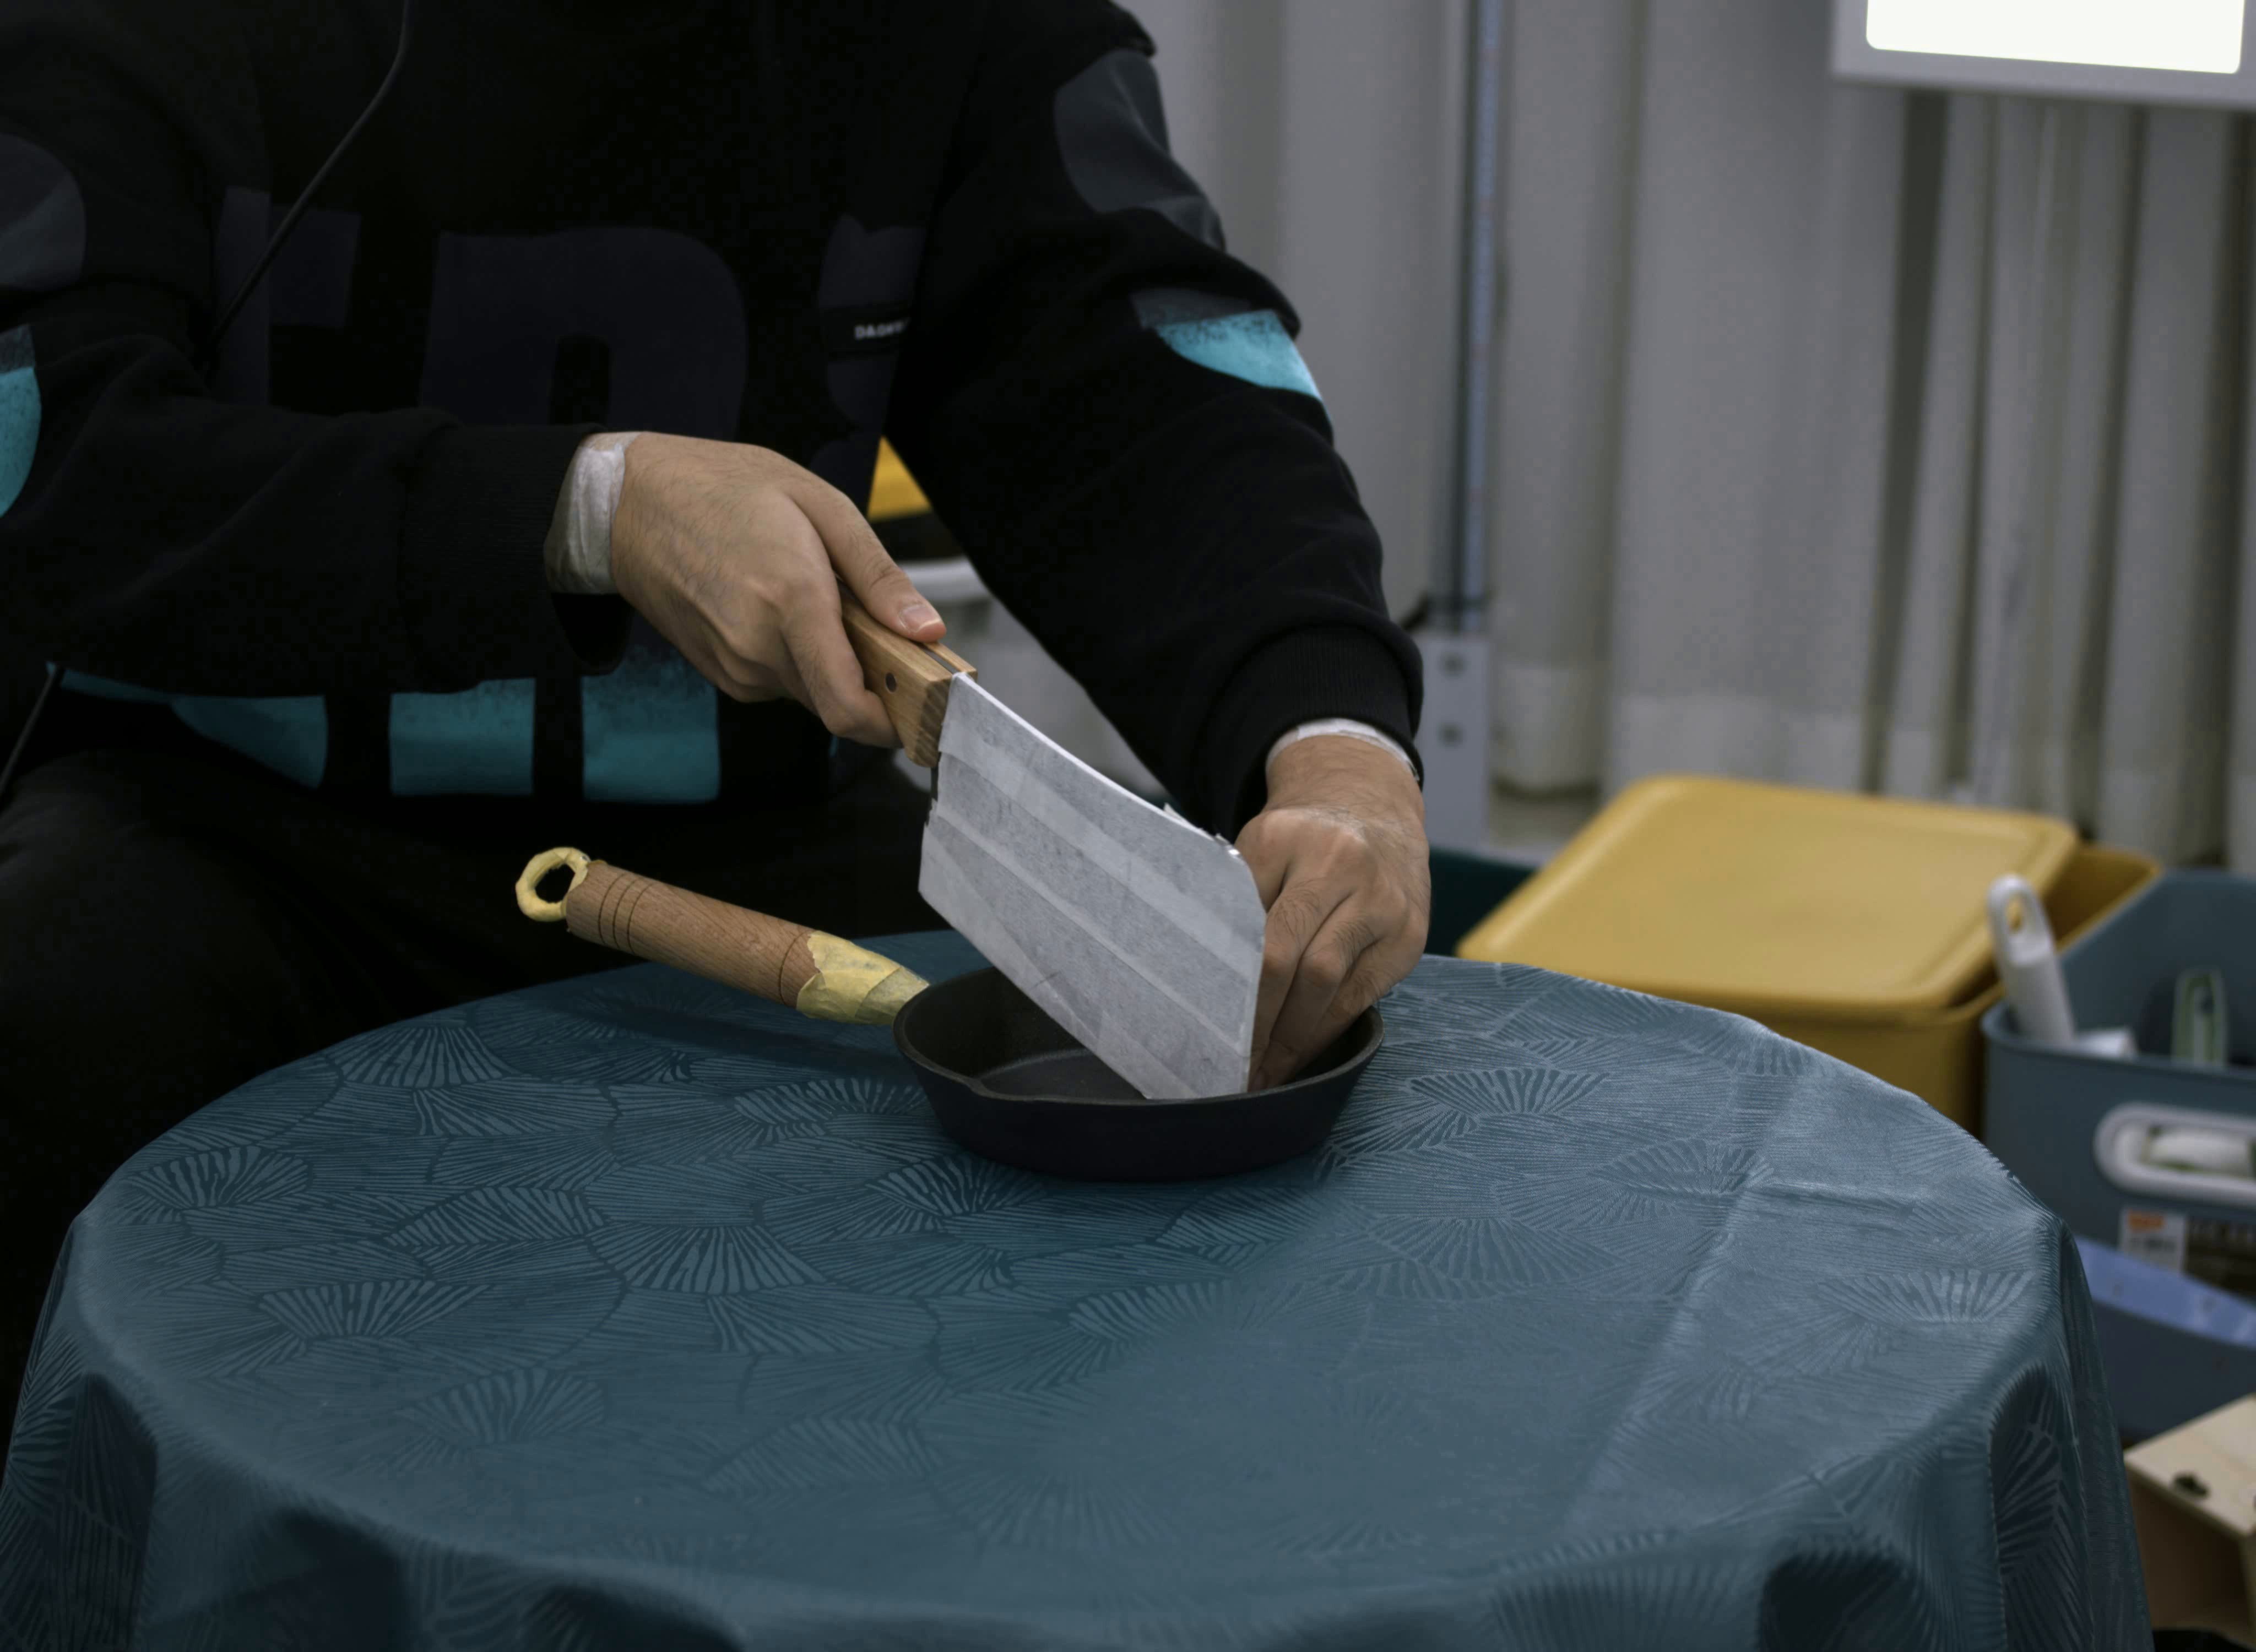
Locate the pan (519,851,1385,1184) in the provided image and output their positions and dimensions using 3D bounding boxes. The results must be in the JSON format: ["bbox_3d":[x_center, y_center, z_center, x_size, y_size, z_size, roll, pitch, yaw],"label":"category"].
[{"bbox_3d":[-0.067,0.058,1.722,0.320,0.050,0.169,11,19,30],"label":"pan"}]

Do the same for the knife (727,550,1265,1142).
[{"bbox_3d":[-0.045,-0.010,1.721,0.022,0.115,0.311,-10,36,-35],"label":"knife"}]
